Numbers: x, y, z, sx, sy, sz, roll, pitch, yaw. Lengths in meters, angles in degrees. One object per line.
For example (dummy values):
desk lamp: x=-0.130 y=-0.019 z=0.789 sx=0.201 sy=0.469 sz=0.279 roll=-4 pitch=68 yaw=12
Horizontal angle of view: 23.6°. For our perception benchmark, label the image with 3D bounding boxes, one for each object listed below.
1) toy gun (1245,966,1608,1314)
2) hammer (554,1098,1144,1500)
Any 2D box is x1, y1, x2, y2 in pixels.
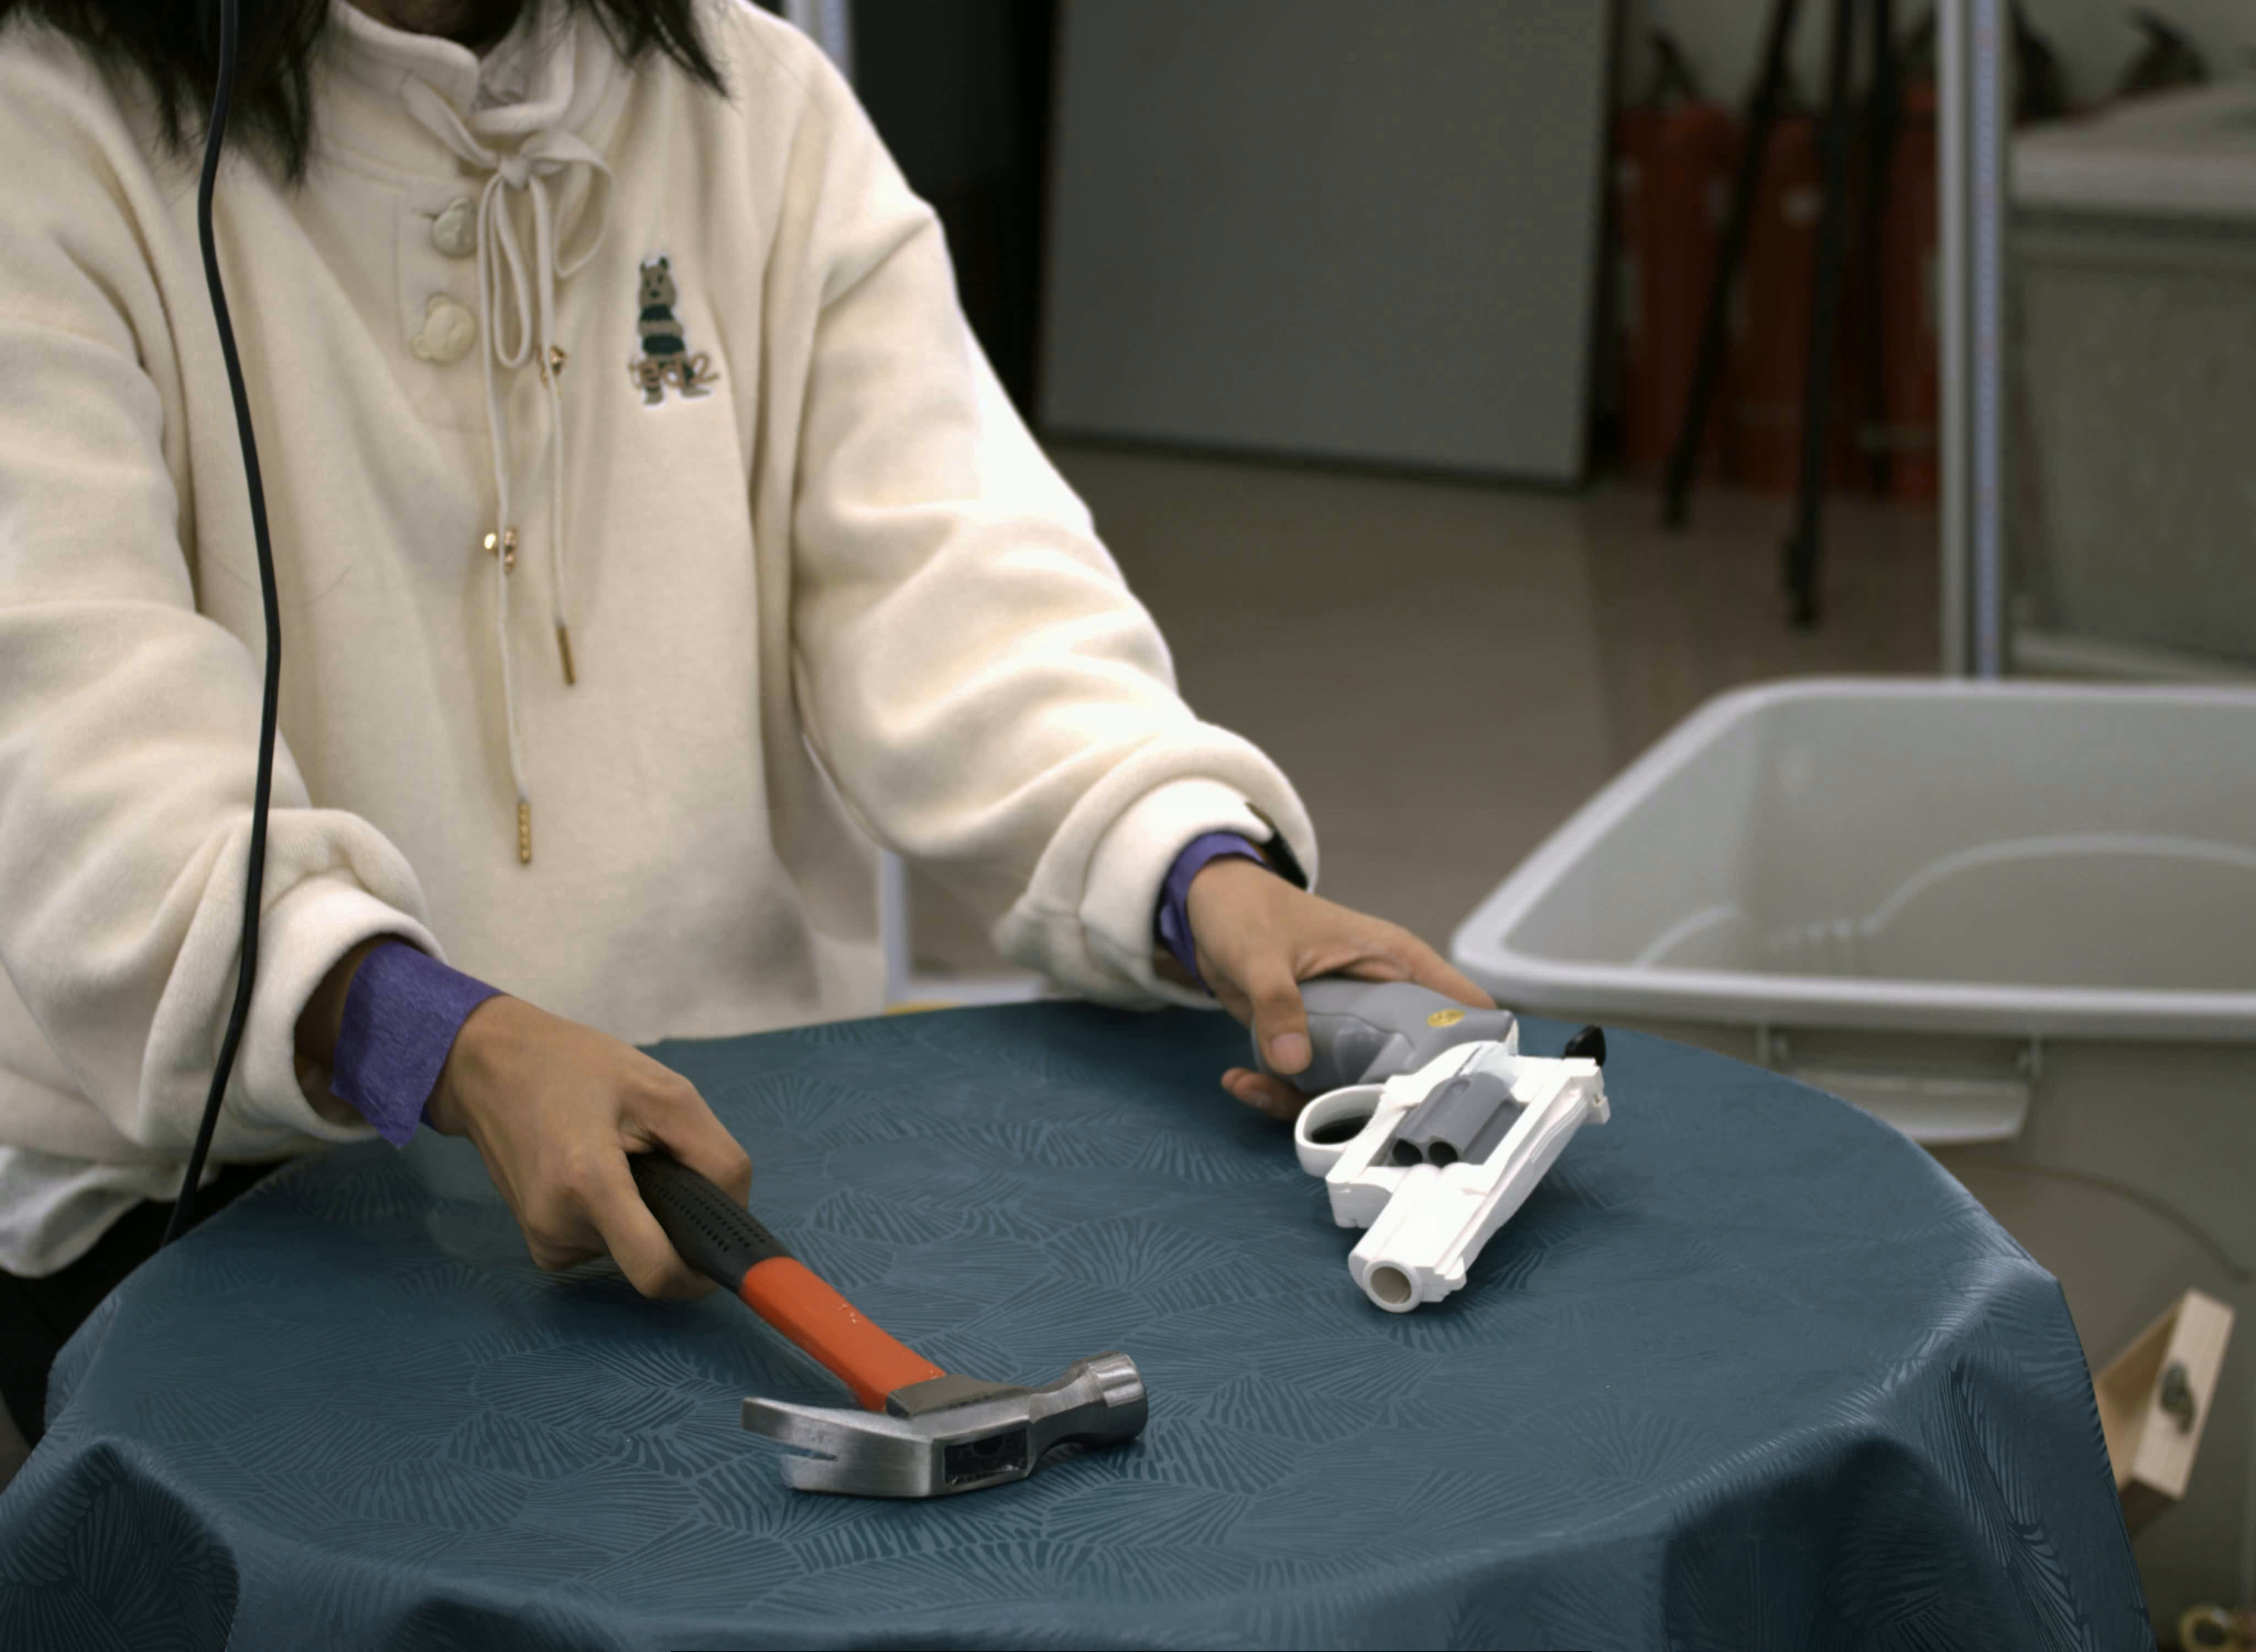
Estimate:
toy gun: x=0.080 y=0.097 z=1.735 sx=0.142 sy=0.039 sz=0.207 roll=-3 pitch=23 yaw=26
hammer: x=-0.107 y=0.136 z=1.626 sx=0.108 sy=0.026 sz=0.280 roll=-21 pitch=25 yaw=-23
